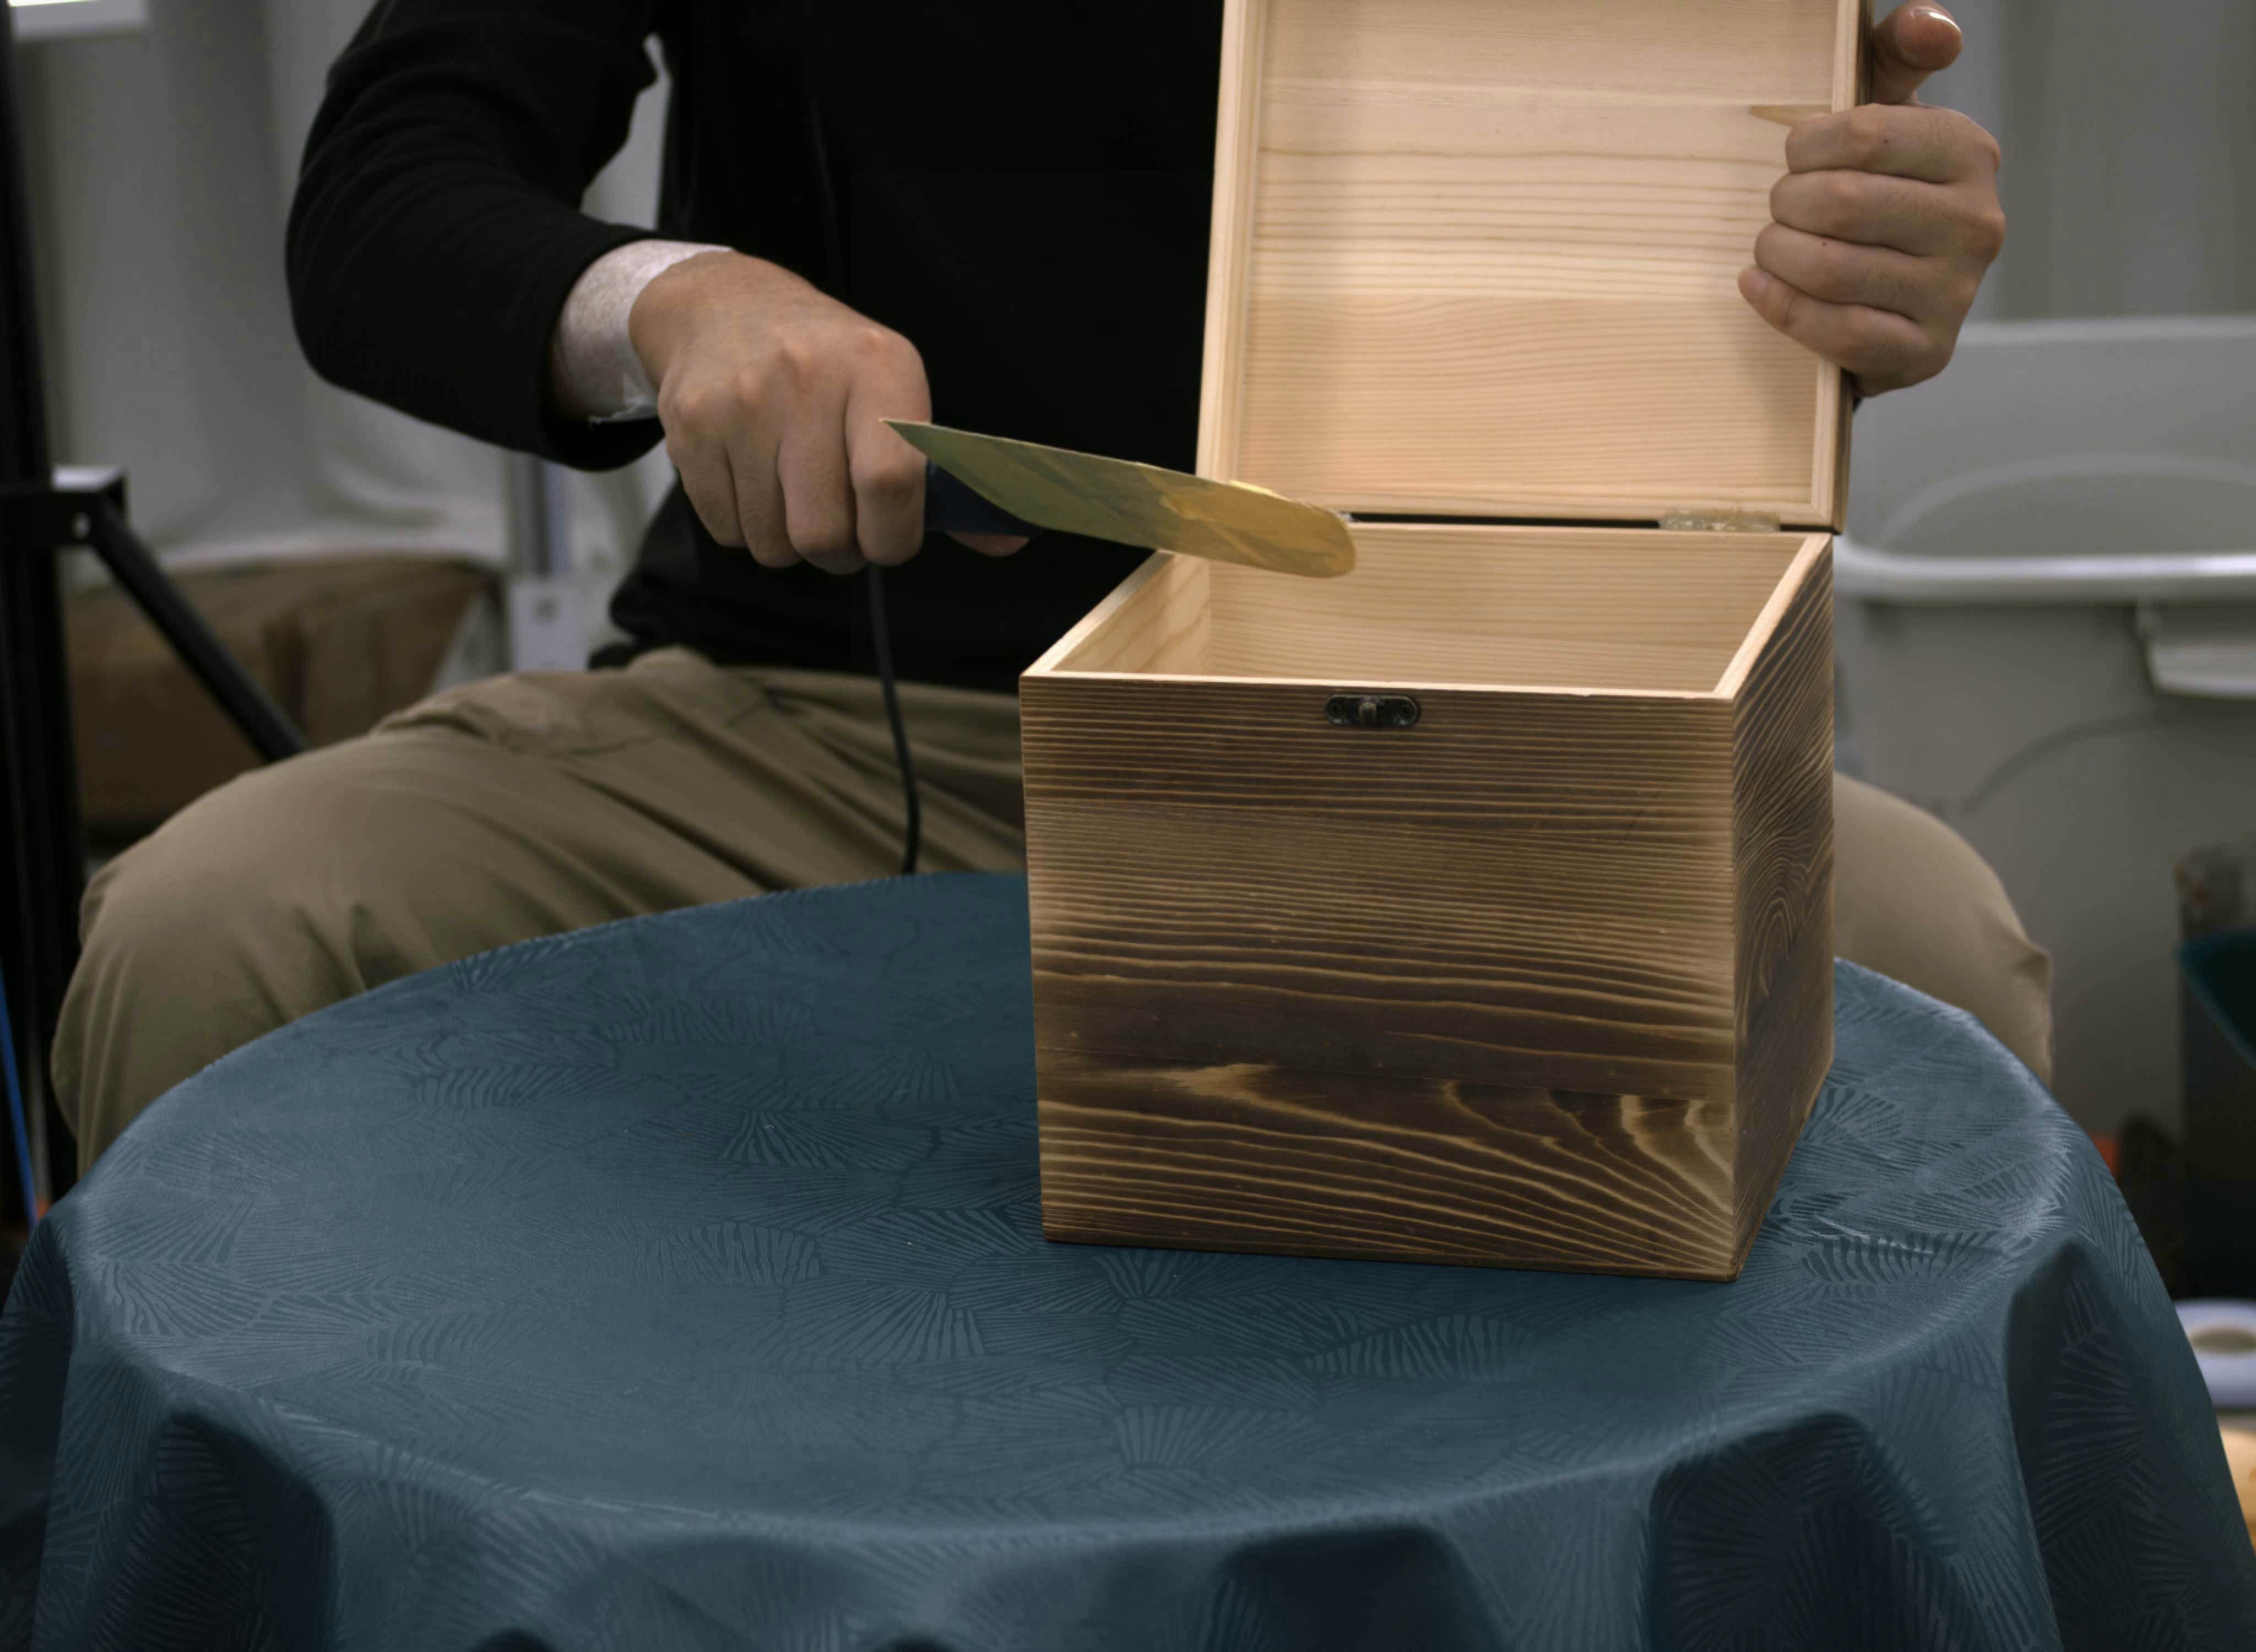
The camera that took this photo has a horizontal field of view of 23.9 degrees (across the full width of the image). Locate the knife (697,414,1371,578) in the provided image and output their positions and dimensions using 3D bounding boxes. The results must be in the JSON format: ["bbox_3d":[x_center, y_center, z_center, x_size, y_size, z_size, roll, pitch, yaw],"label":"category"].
[{"bbox_3d":[-0.037,-0.103,1.619,0.296,0.027,0.079,9,-21,45],"label":"knife"}]

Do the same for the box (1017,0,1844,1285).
[{"bbox_3d":[0.101,-0.089,1.584,0.210,0.375,0.319,1,14,15],"label":"box"}]
